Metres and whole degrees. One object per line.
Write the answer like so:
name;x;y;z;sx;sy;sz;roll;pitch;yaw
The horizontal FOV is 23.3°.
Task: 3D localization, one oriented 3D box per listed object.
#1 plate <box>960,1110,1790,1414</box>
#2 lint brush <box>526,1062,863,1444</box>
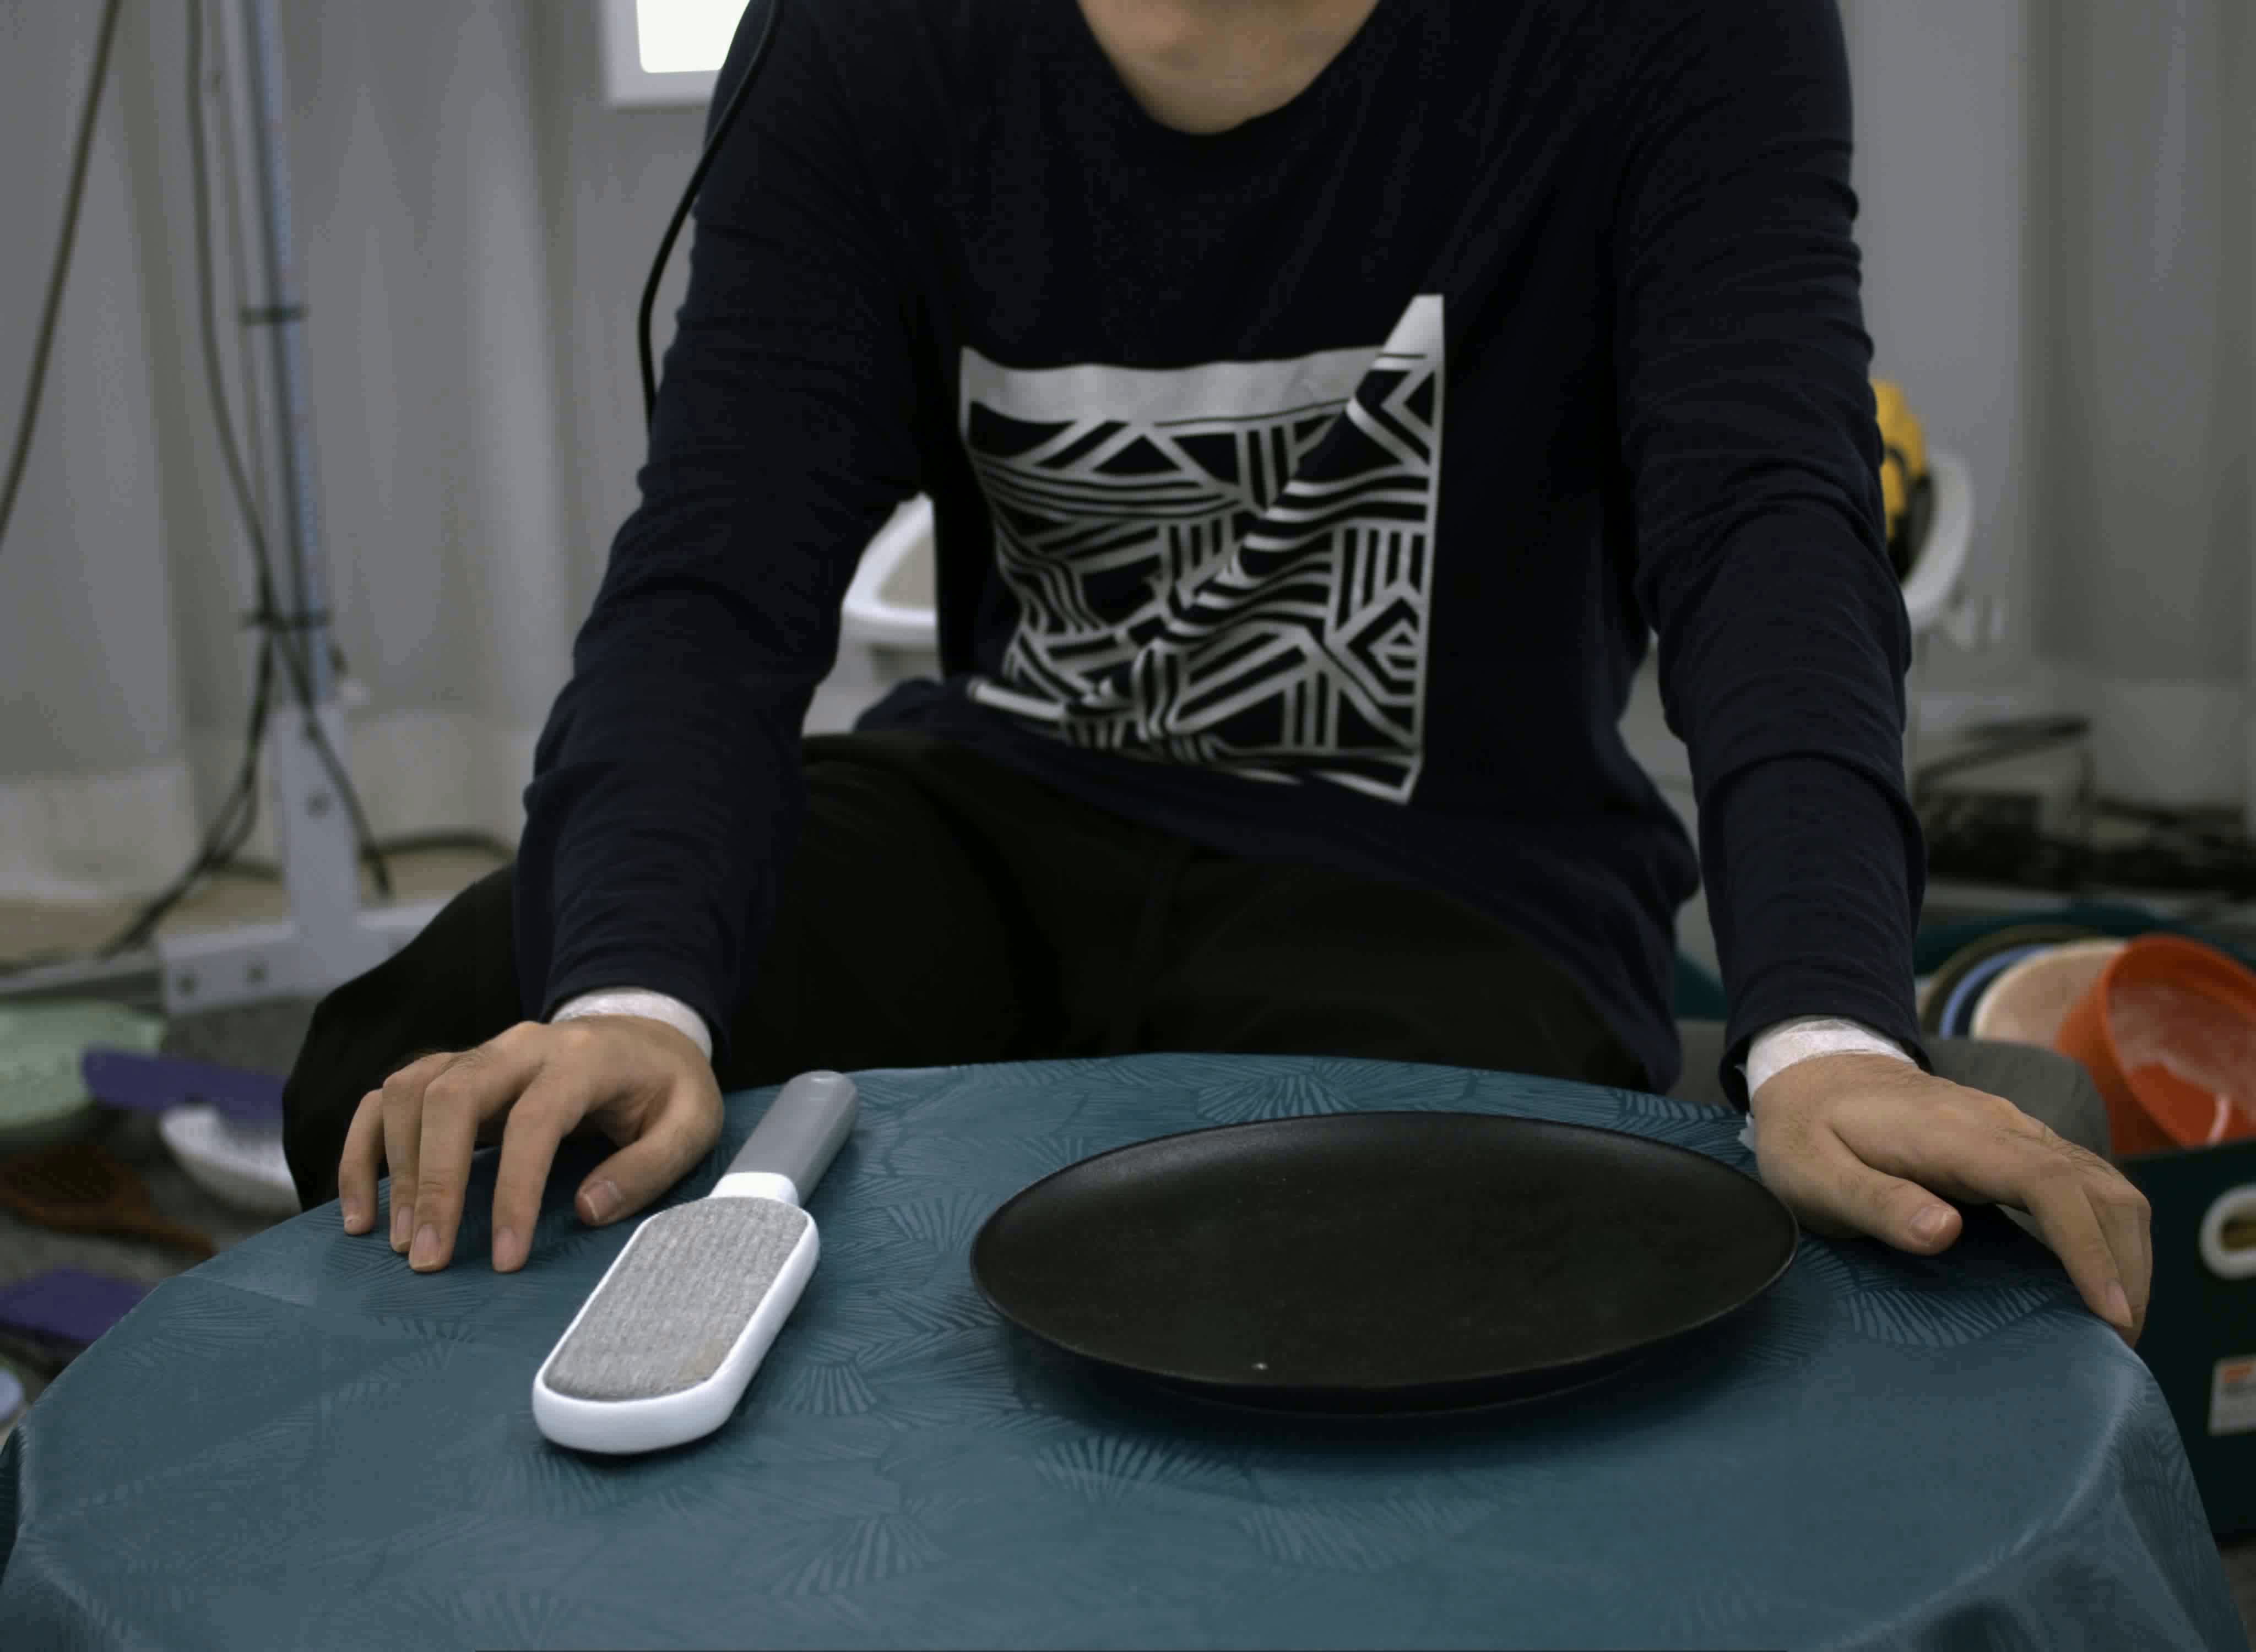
plate;0.072;0.130;1.601;0.243;0.023;0.246;-2;15;0
lint brush;-0.120;0.125;1.650;0.060;0.021;0.310;-6;14;10
